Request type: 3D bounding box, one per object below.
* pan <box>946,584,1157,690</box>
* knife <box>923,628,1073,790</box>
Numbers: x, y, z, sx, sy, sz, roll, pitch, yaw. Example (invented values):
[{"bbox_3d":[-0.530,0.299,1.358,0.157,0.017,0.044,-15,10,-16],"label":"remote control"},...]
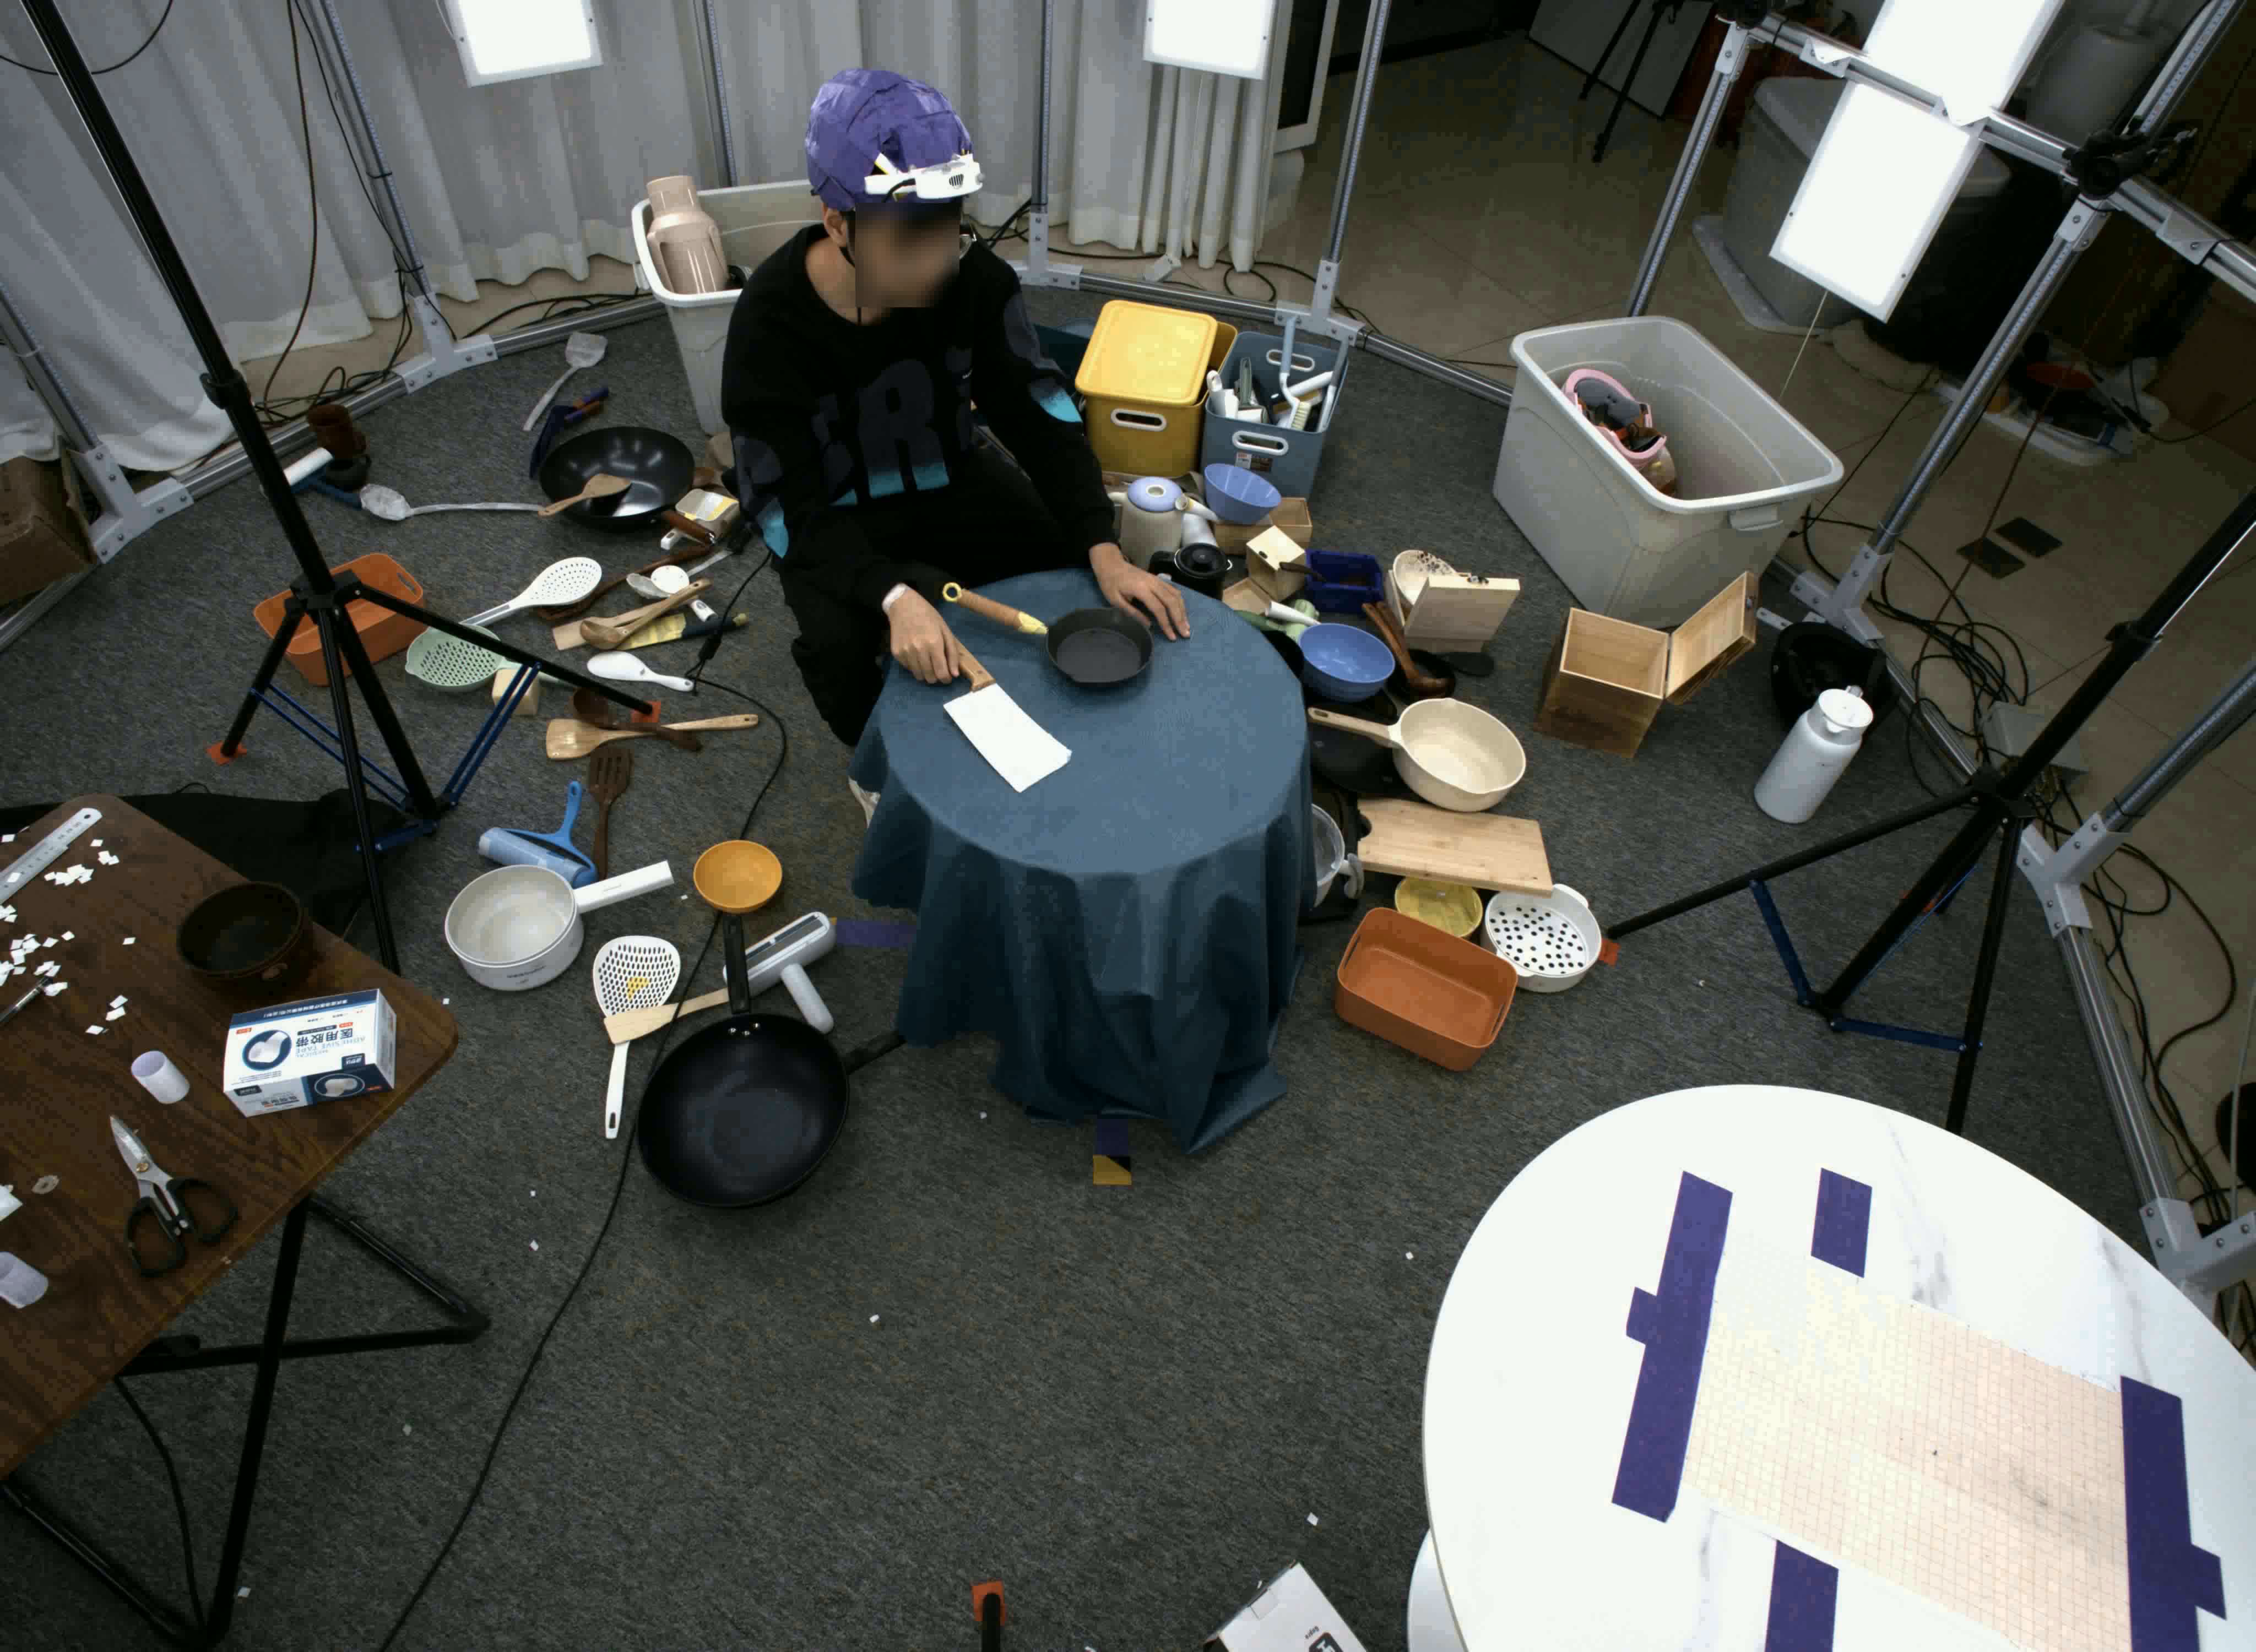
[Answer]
[{"bbox_3d":[-0.115,-0.285,1.876,0.325,0.048,0.172,20,51,11],"label":"pan"},{"bbox_3d":[-0.192,-0.170,1.792,0.114,0.021,0.321,-25,58,-23],"label":"knife"}]
